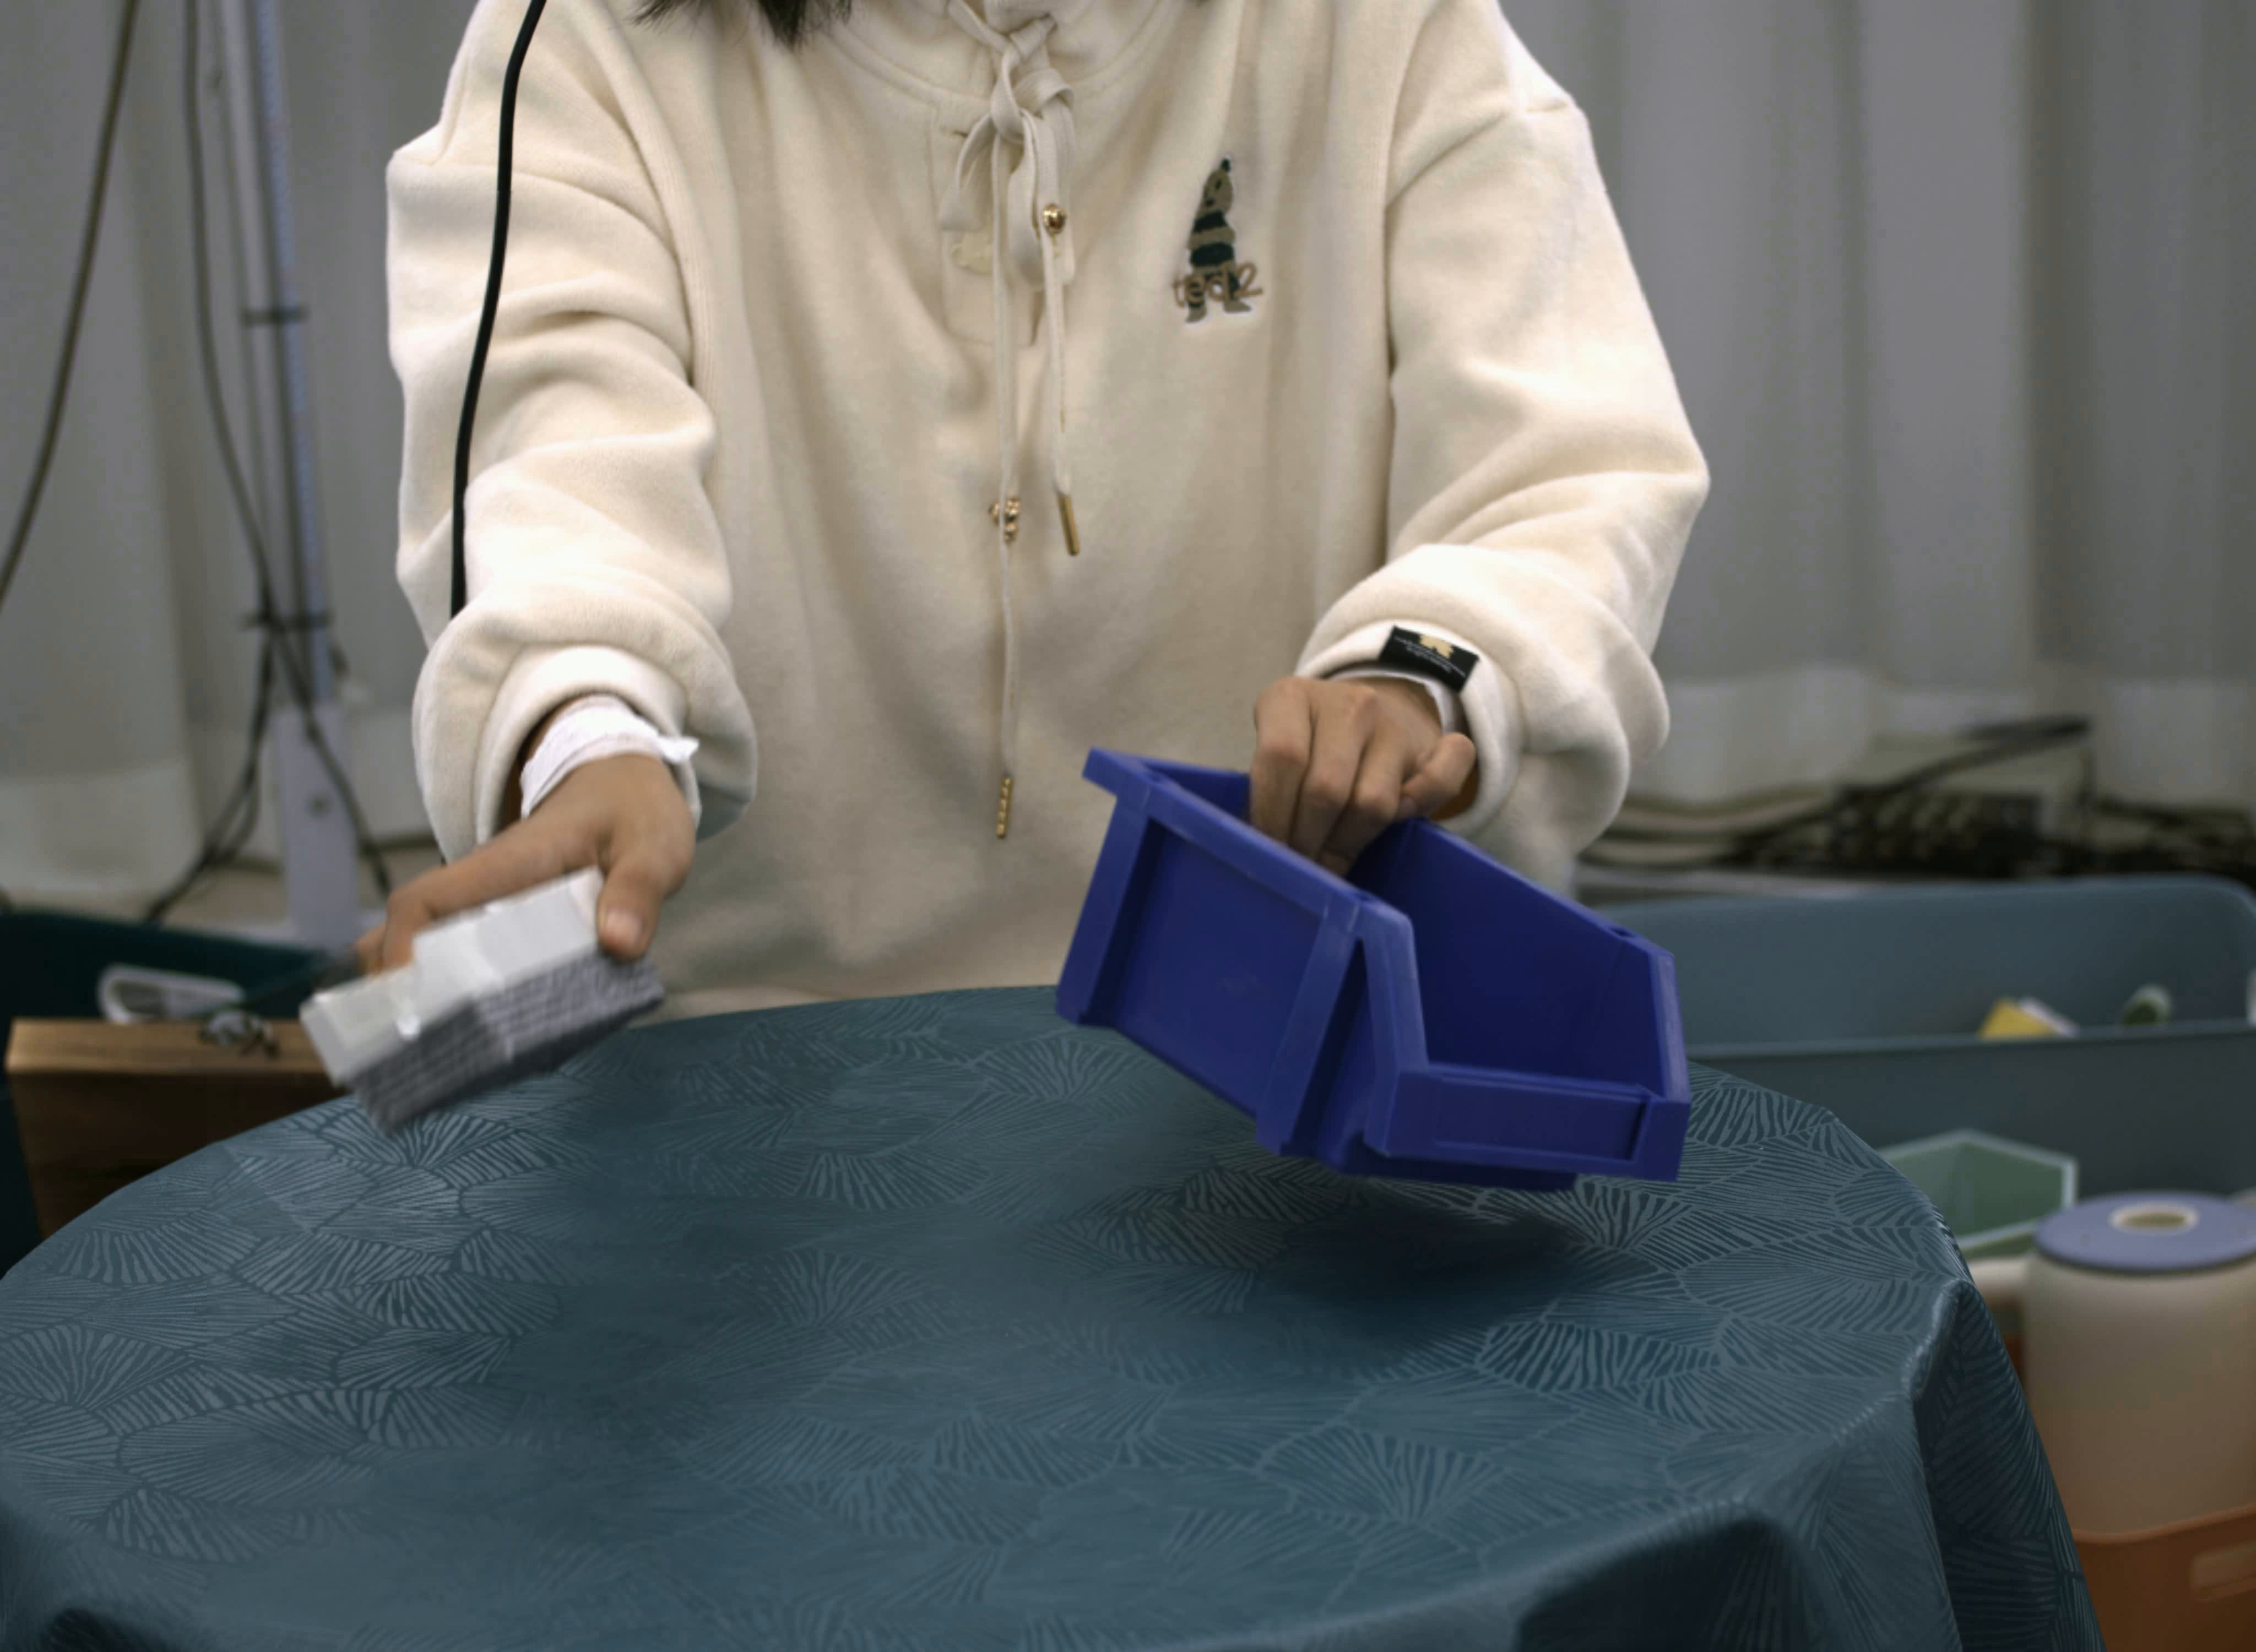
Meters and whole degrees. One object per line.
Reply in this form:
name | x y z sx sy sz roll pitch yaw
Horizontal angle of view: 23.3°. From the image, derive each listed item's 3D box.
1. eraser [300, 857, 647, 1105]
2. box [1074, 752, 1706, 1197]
eraser | -0.183 0.043 1.558 0.049 0.046 0.134 -35 -3 13
box | 0.080 0.050 1.652 0.123 0.082 0.181 10 11 -38
